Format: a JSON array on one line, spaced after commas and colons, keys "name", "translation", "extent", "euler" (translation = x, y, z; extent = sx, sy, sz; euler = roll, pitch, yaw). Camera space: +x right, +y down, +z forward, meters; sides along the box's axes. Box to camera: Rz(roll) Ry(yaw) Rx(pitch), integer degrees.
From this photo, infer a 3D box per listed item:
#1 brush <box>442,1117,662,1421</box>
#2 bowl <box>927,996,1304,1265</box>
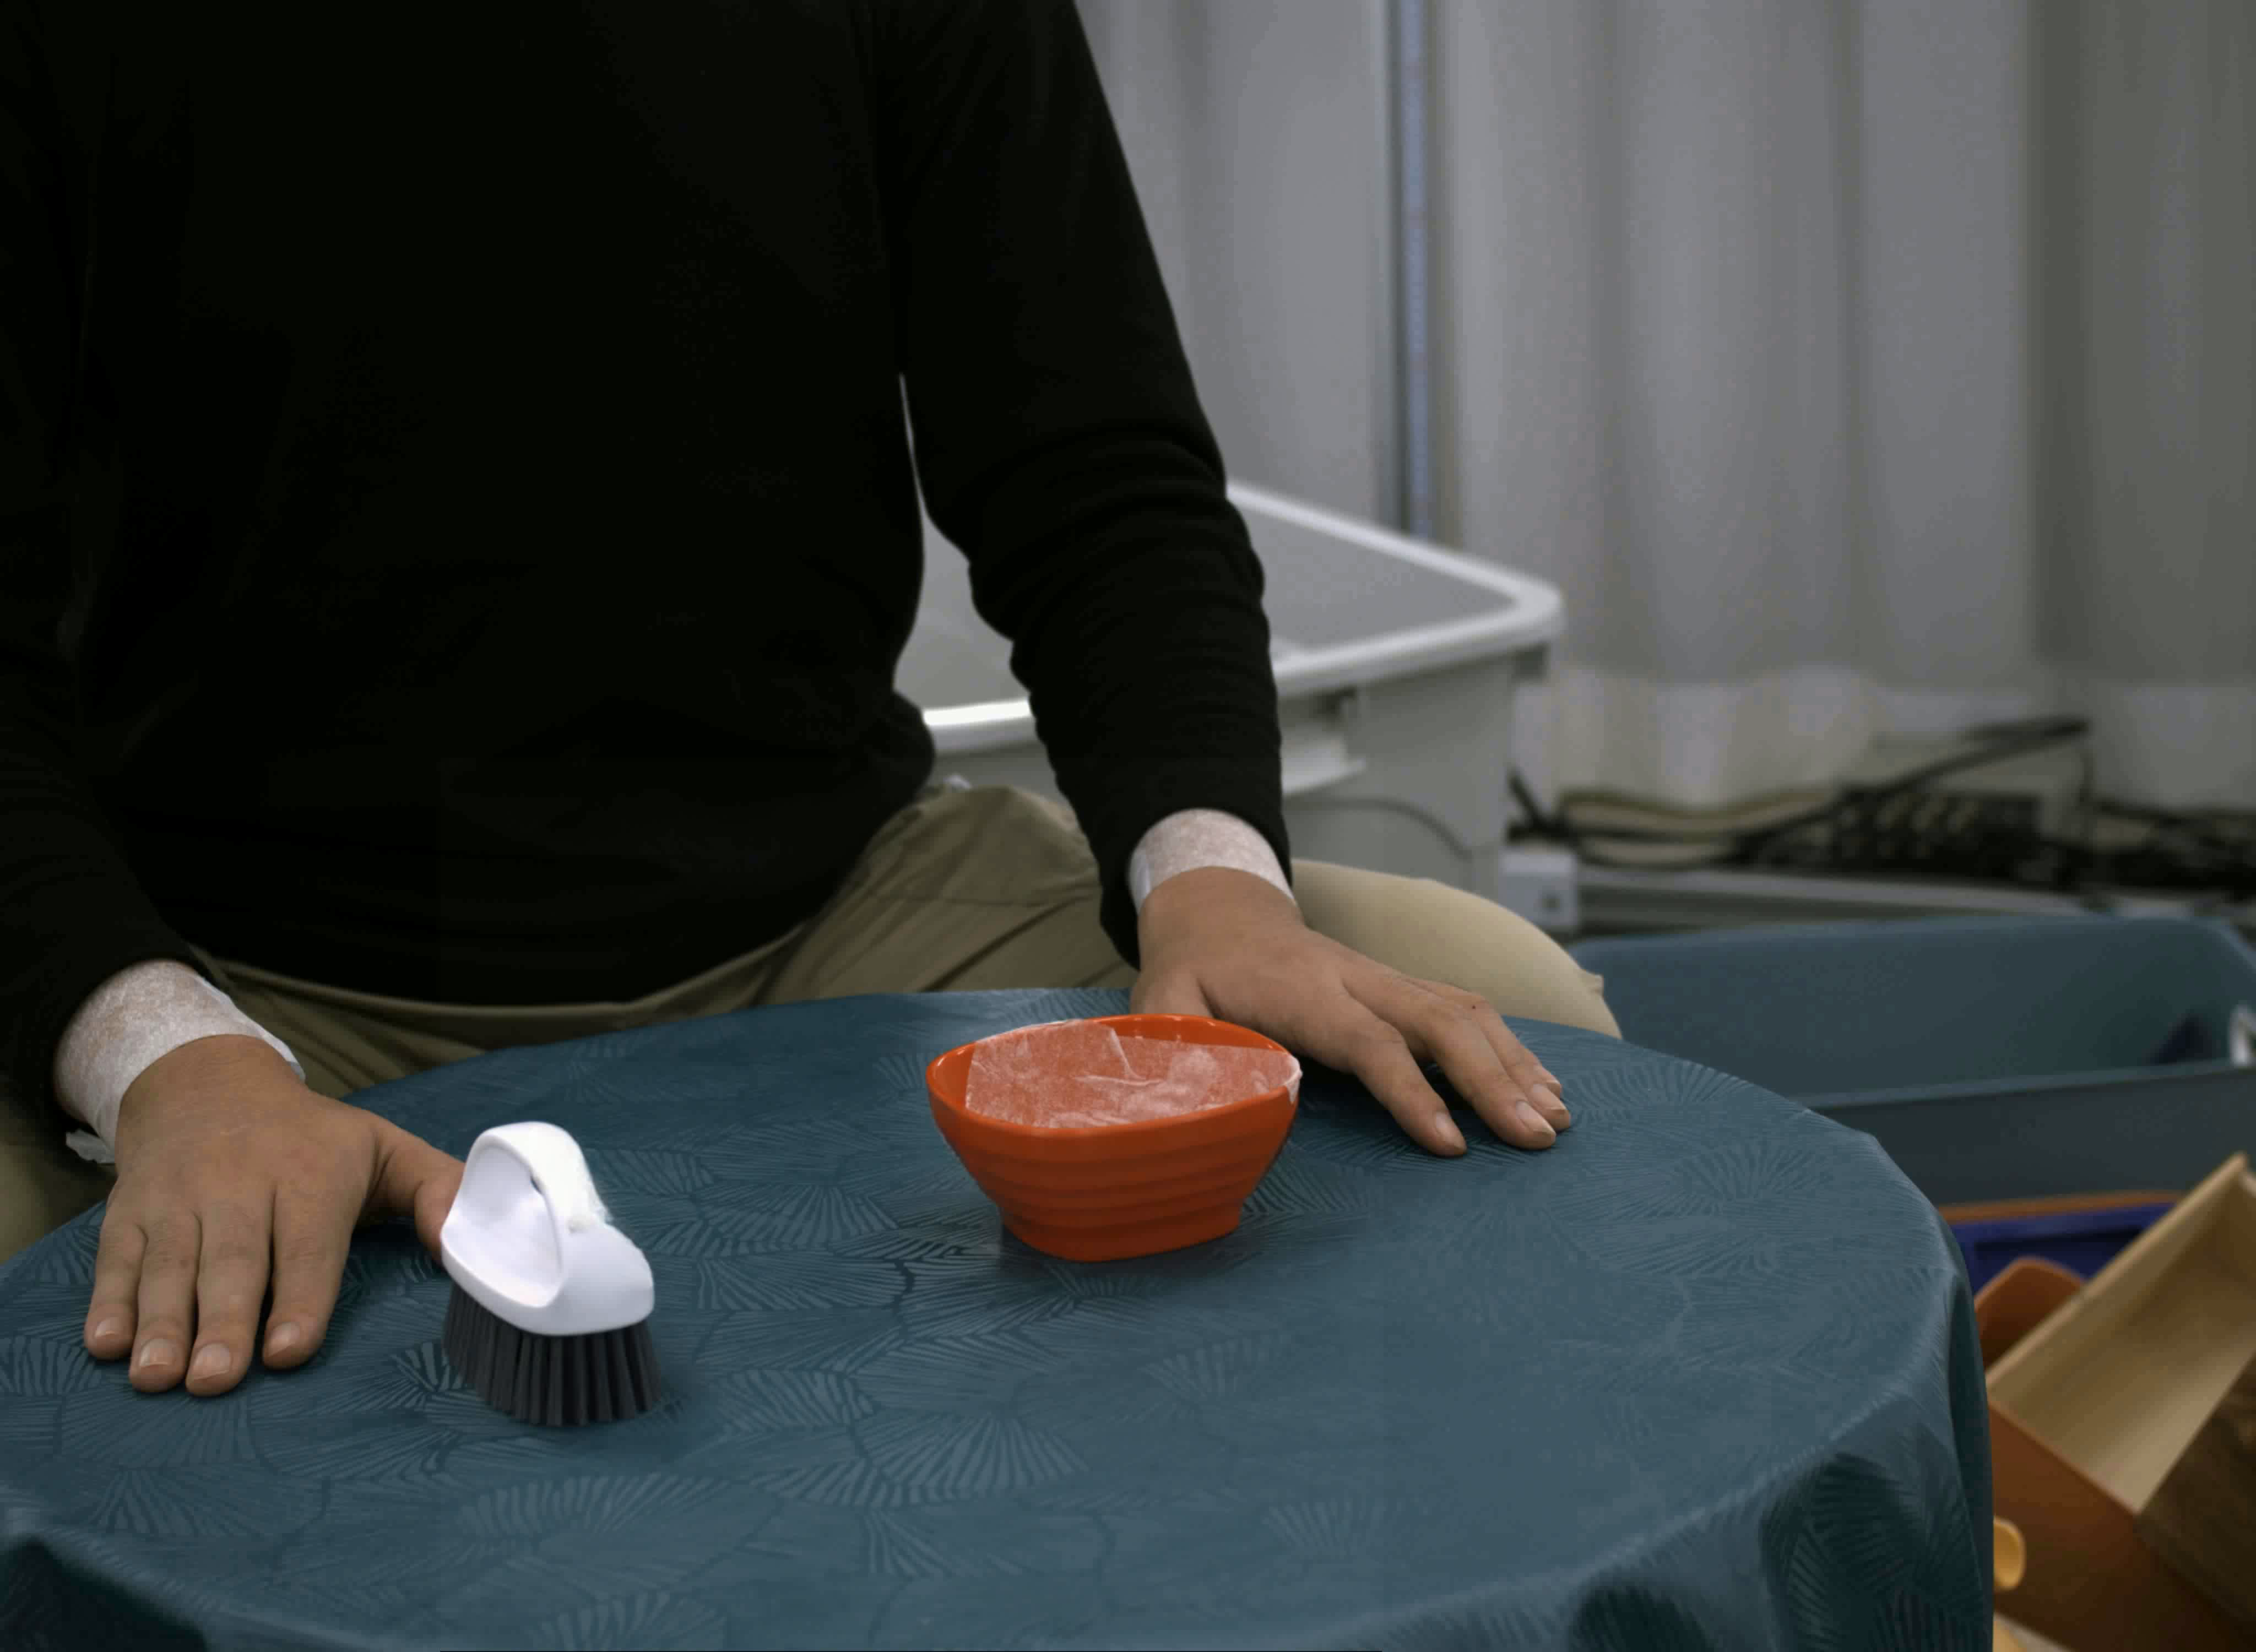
[{"name": "brush", "translation": [-0.168, 0.122, 1.575], "extent": [0.050, 0.072, 0.100], "euler": [-8, 15, -21]}, {"name": "bowl", "translation": [-0.003, 0.096, 1.679], "extent": [0.118, 0.051, 0.120], "euler": [-3, 19, 1]}]
